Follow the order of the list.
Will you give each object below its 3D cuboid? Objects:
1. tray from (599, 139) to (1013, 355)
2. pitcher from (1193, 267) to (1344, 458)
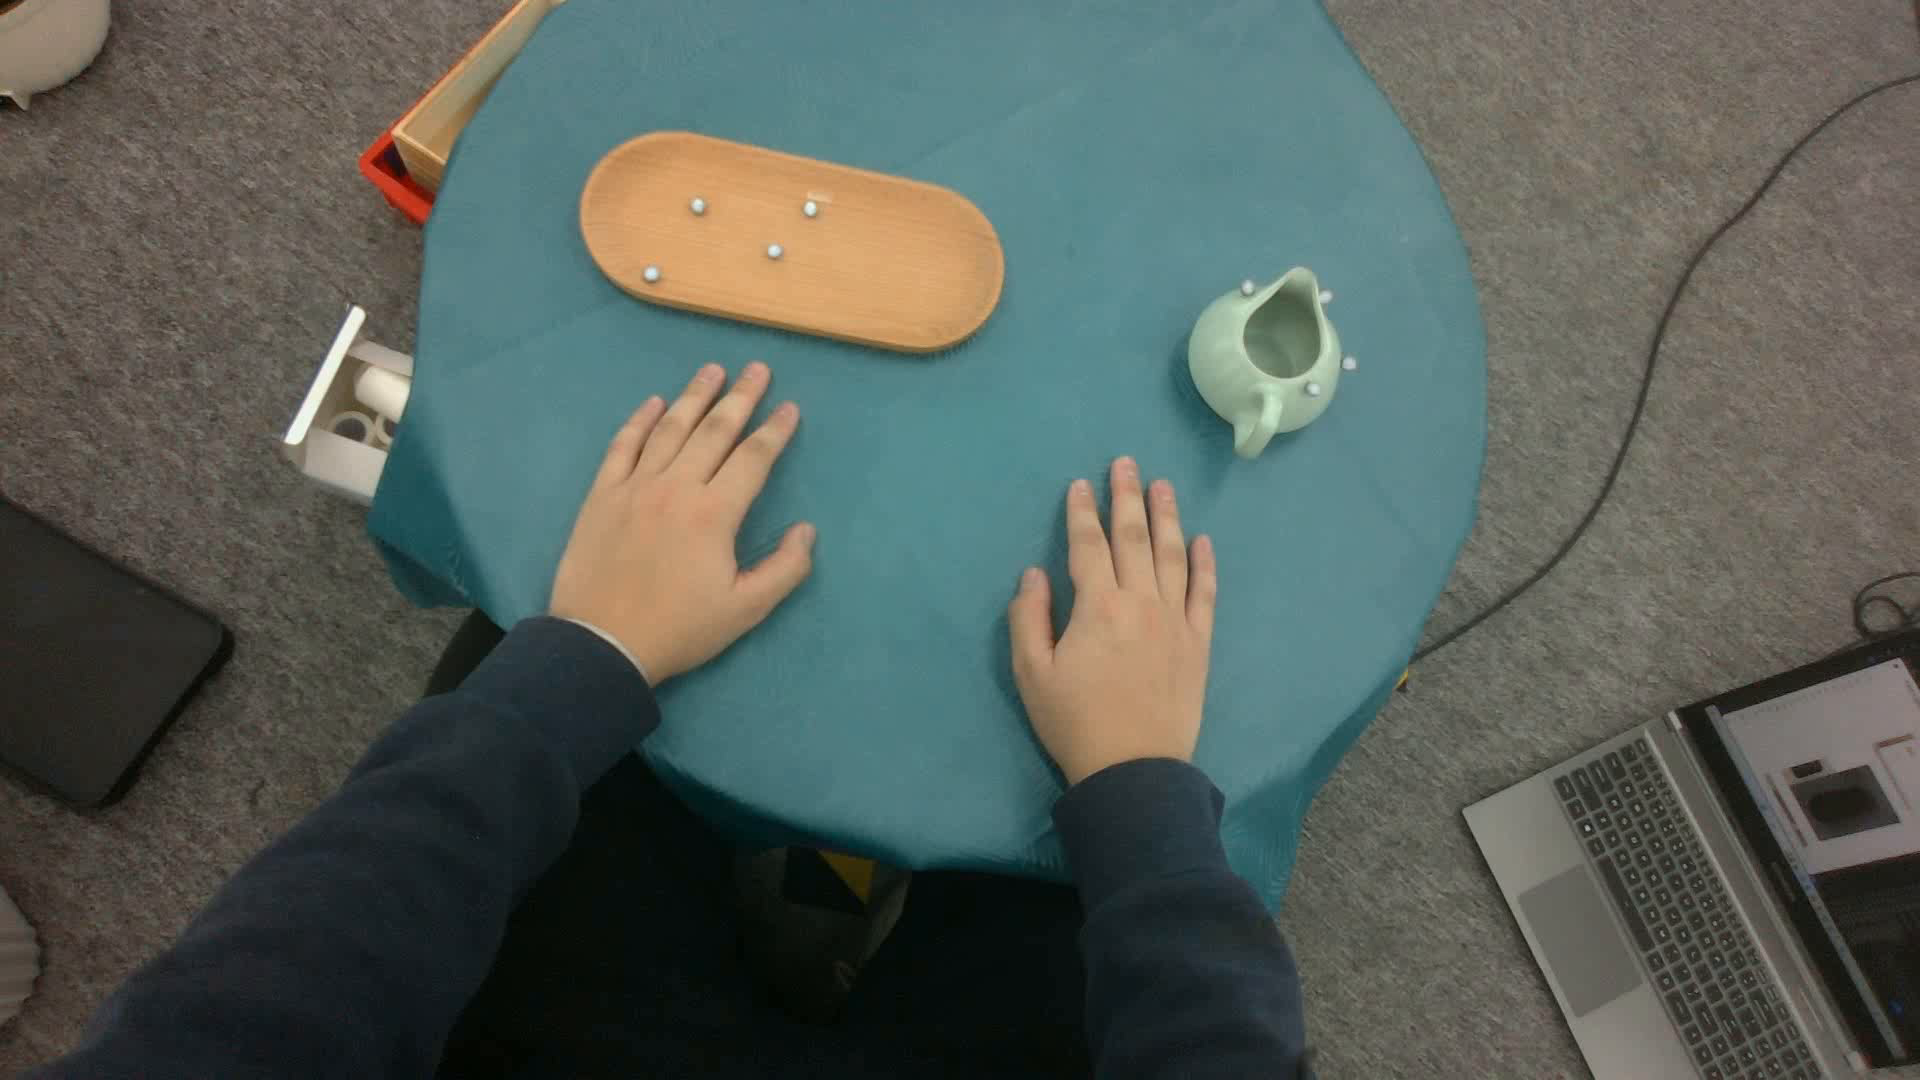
[{"bbox_3d":[-0.084,-0.163,0.772,0.231,0.020,0.102,10,75,-7],"label":"tray"},{"bbox_3d":[0.172,-0.094,0.766,0.086,0.060,0.108,15,75,-2],"label":"pitcher"}]
